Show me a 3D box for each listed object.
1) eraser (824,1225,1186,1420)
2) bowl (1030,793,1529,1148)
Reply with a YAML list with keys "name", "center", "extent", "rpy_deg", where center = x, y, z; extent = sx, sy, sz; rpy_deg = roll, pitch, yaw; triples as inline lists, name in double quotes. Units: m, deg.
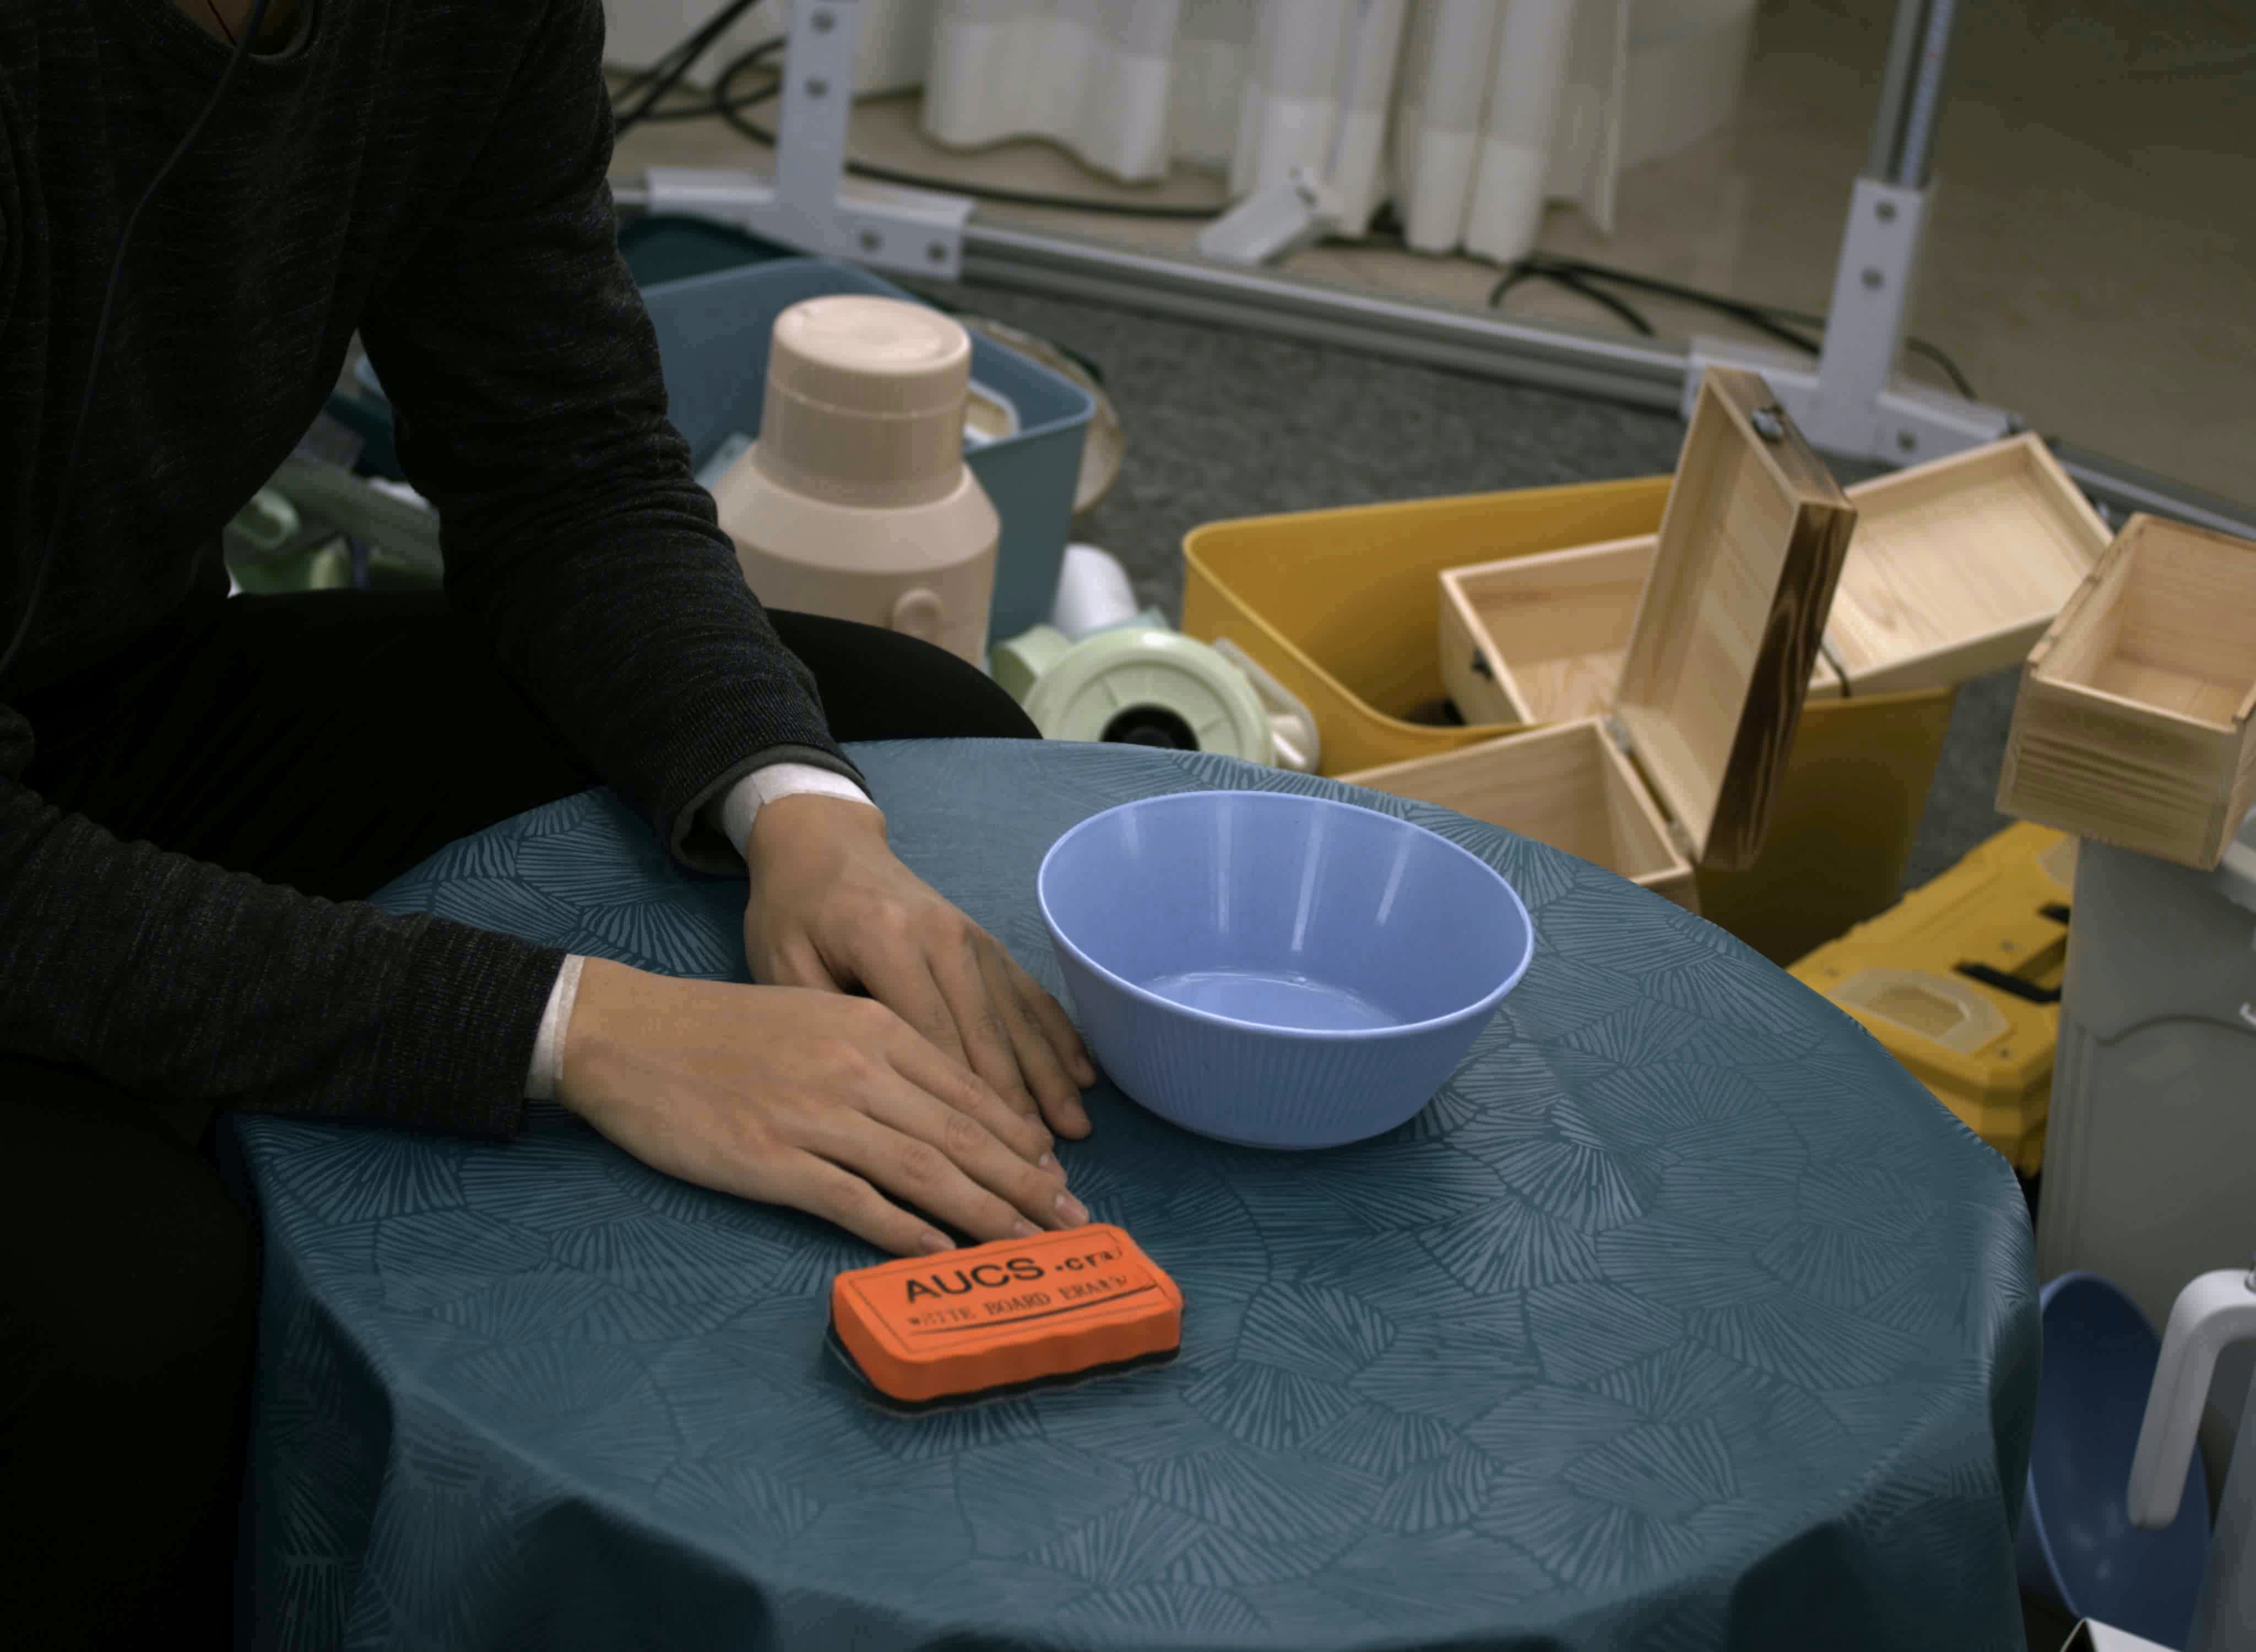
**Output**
- name: "eraser"
  center: [-0.039, 0.158, 1.700]
  extent: [0.107, 0.023, 0.059]
  rpy_deg: [-9, 32, -27]
- name: "bowl"
  center: [0.050, 0.056, 1.869]
  extent: [0.175, 0.070, 0.177]
  rpy_deg: [5, 27, -3]
